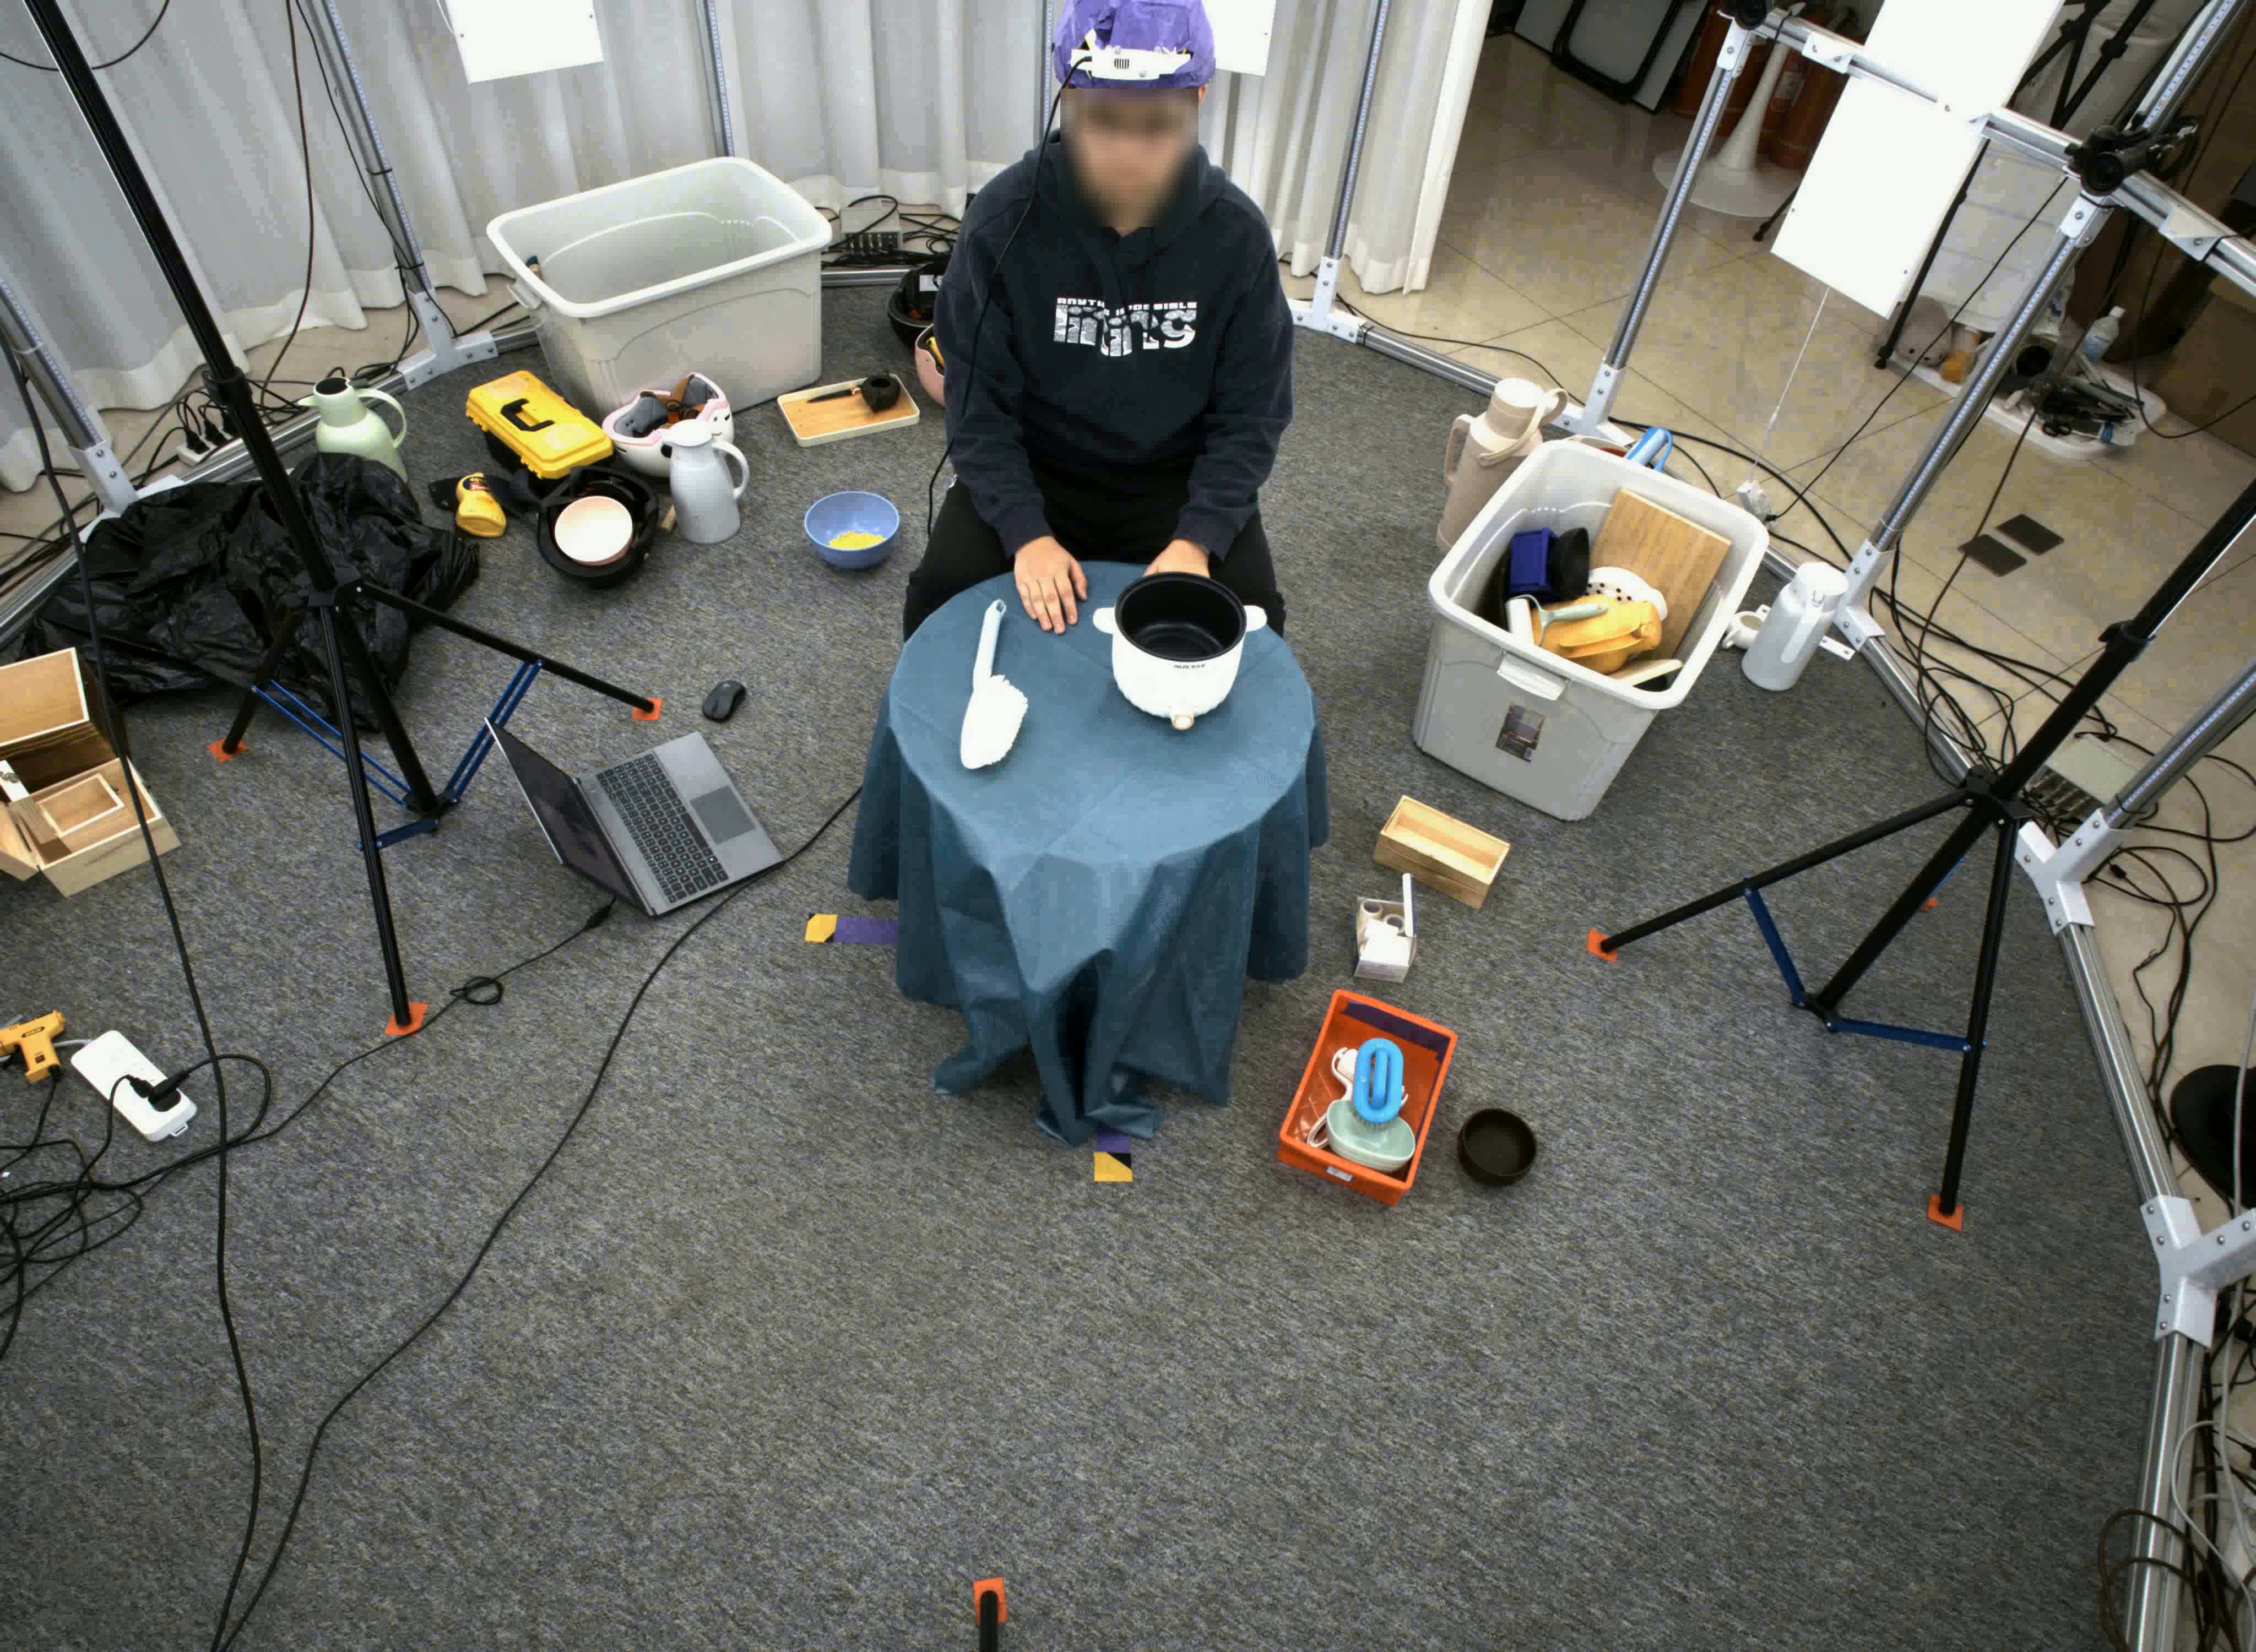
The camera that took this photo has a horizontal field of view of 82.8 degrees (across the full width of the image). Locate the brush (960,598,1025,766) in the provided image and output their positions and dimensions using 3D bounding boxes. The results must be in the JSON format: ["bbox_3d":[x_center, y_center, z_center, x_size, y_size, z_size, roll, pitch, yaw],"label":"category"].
[{"bbox_3d":[-0.179,-0.220,1.789,0.084,0.081,0.333,2,50,3],"label":"brush"}]

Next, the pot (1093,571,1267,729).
[{"bbox_3d":[0.070,-0.242,1.791,0.240,0.139,0.195,-3,47,-6],"label":"pot"}]
